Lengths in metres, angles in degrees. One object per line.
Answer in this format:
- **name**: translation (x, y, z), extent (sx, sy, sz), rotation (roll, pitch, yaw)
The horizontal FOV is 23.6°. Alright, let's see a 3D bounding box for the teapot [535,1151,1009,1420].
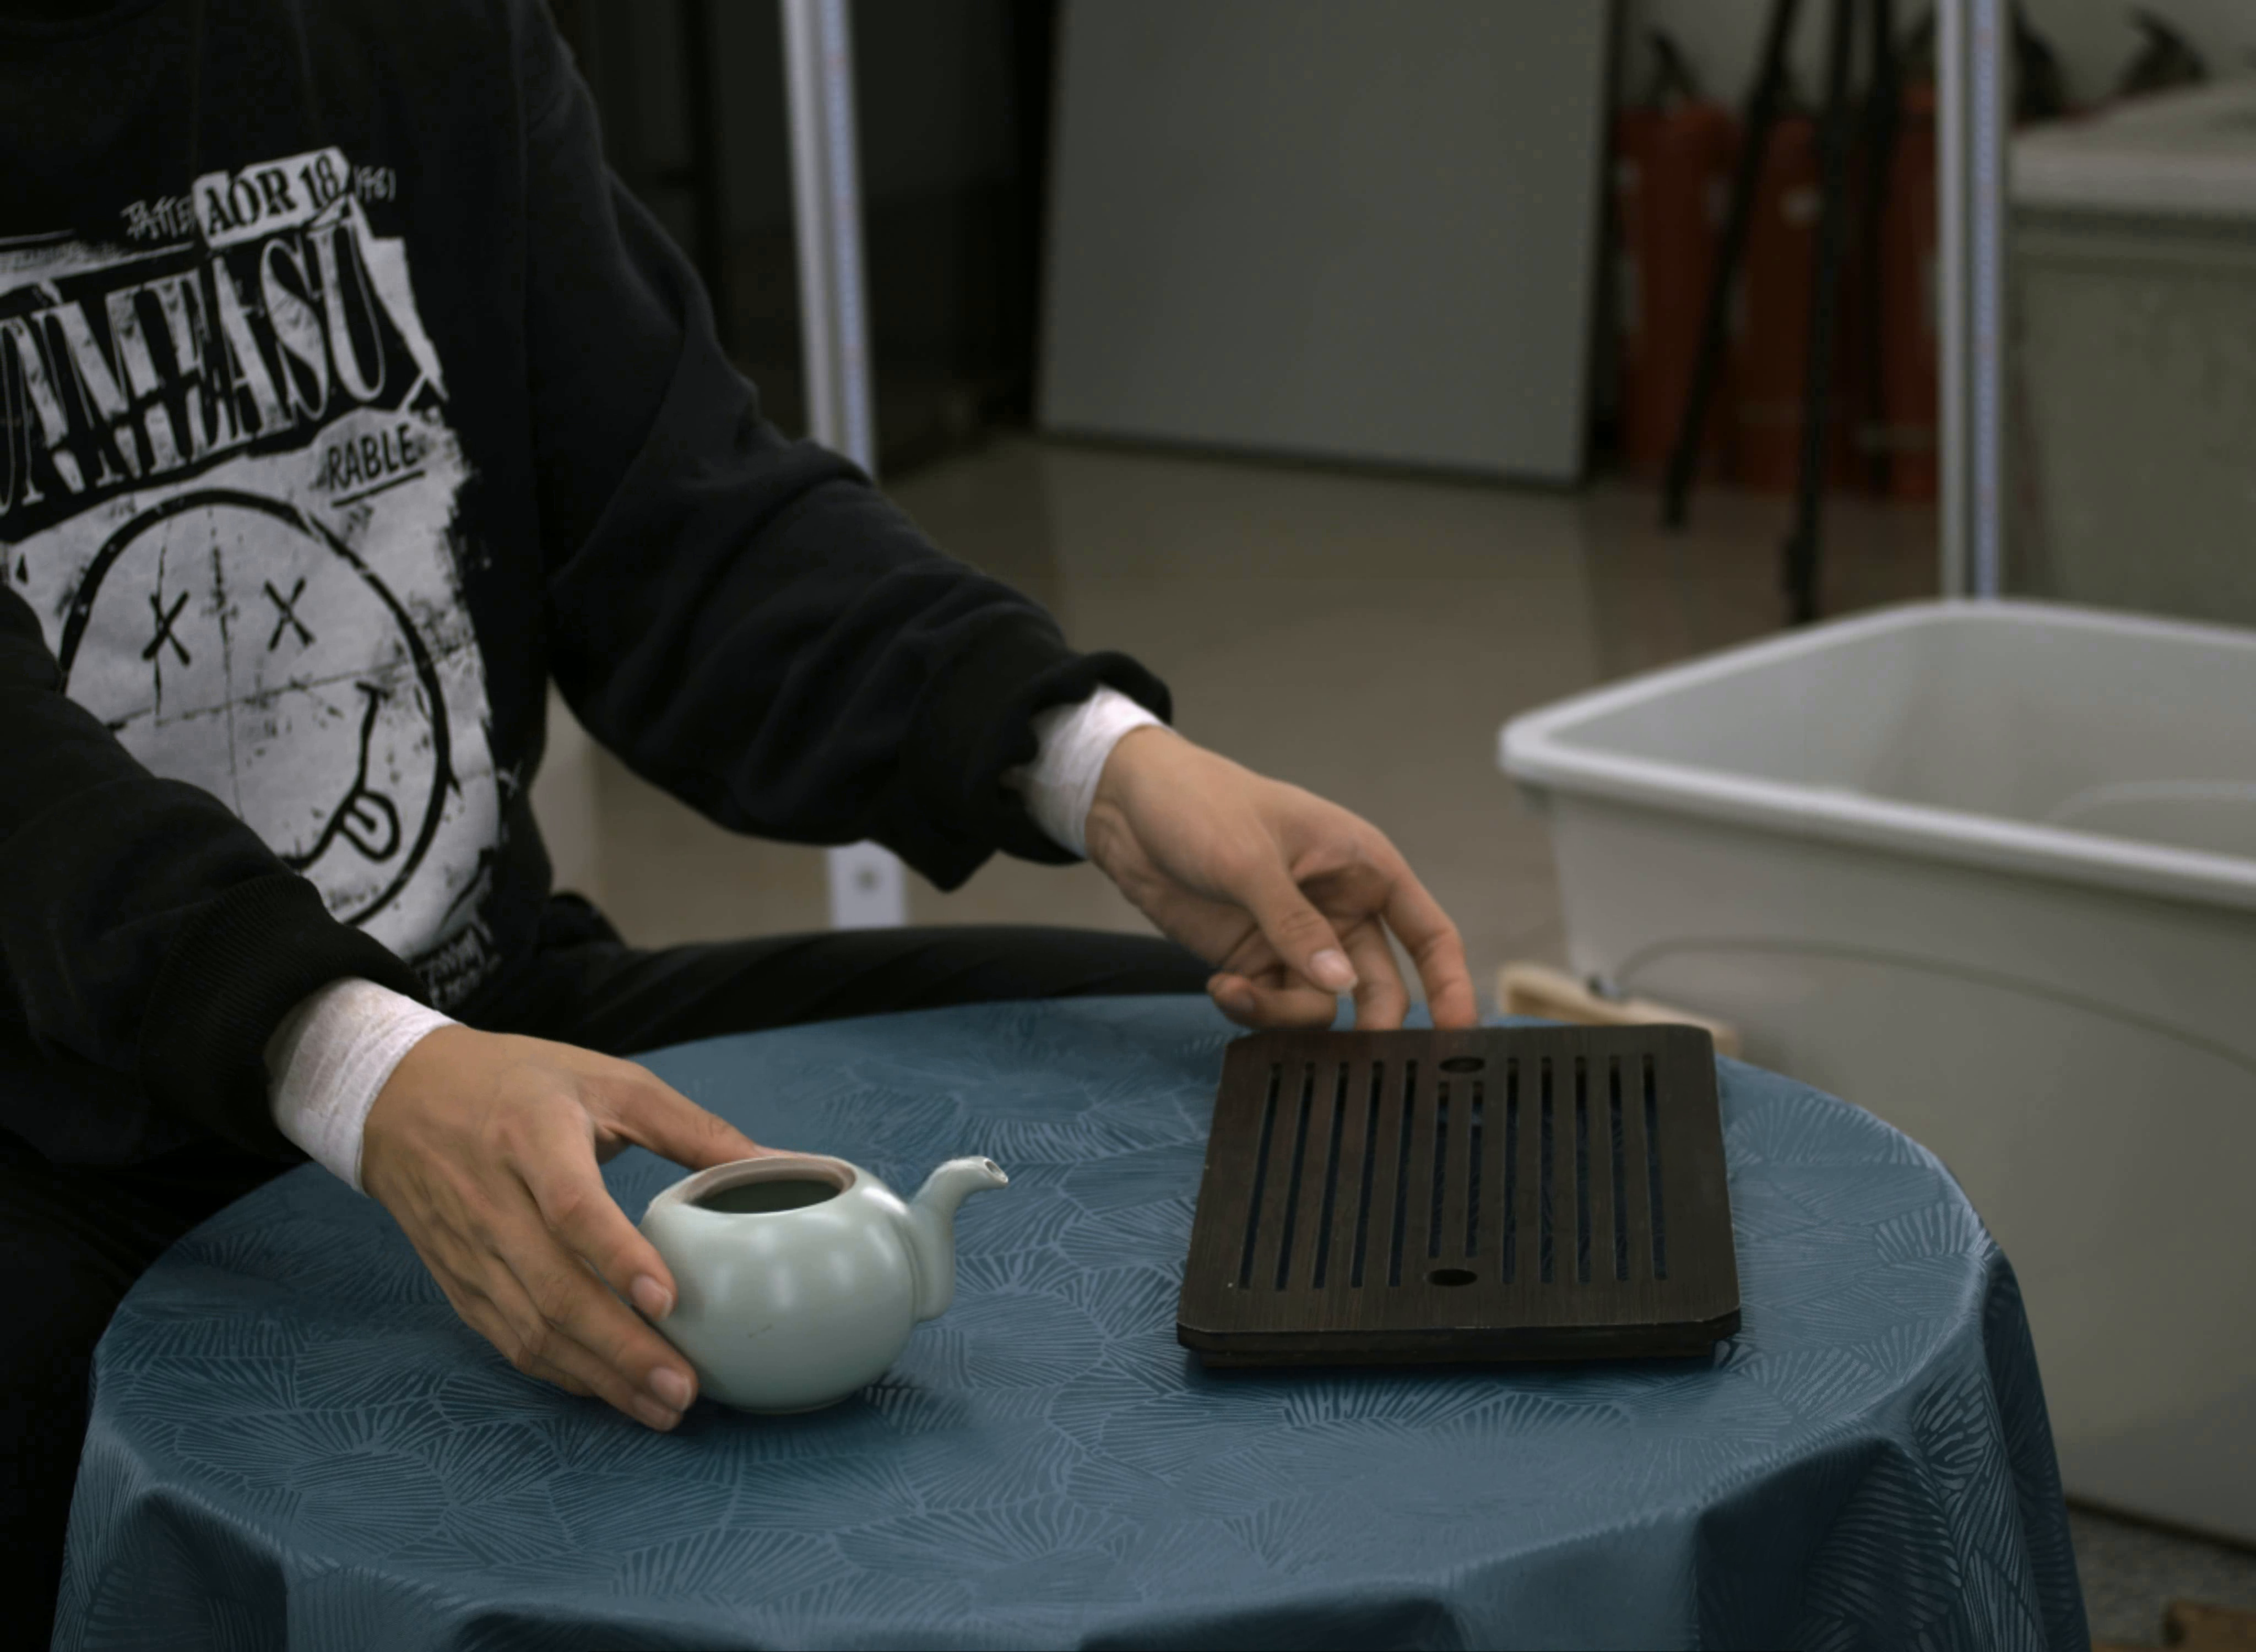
- **teapot**: translation (-0.104, 0.134, 1.602), extent (0.142, 0.075, 0.088), rotation (-1, 14, 7)

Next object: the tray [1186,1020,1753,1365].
- **tray**: translation (0.112, 0.115, 1.724), extent (0.168, 0.019, 0.305), rotation (-3, 14, 6)
